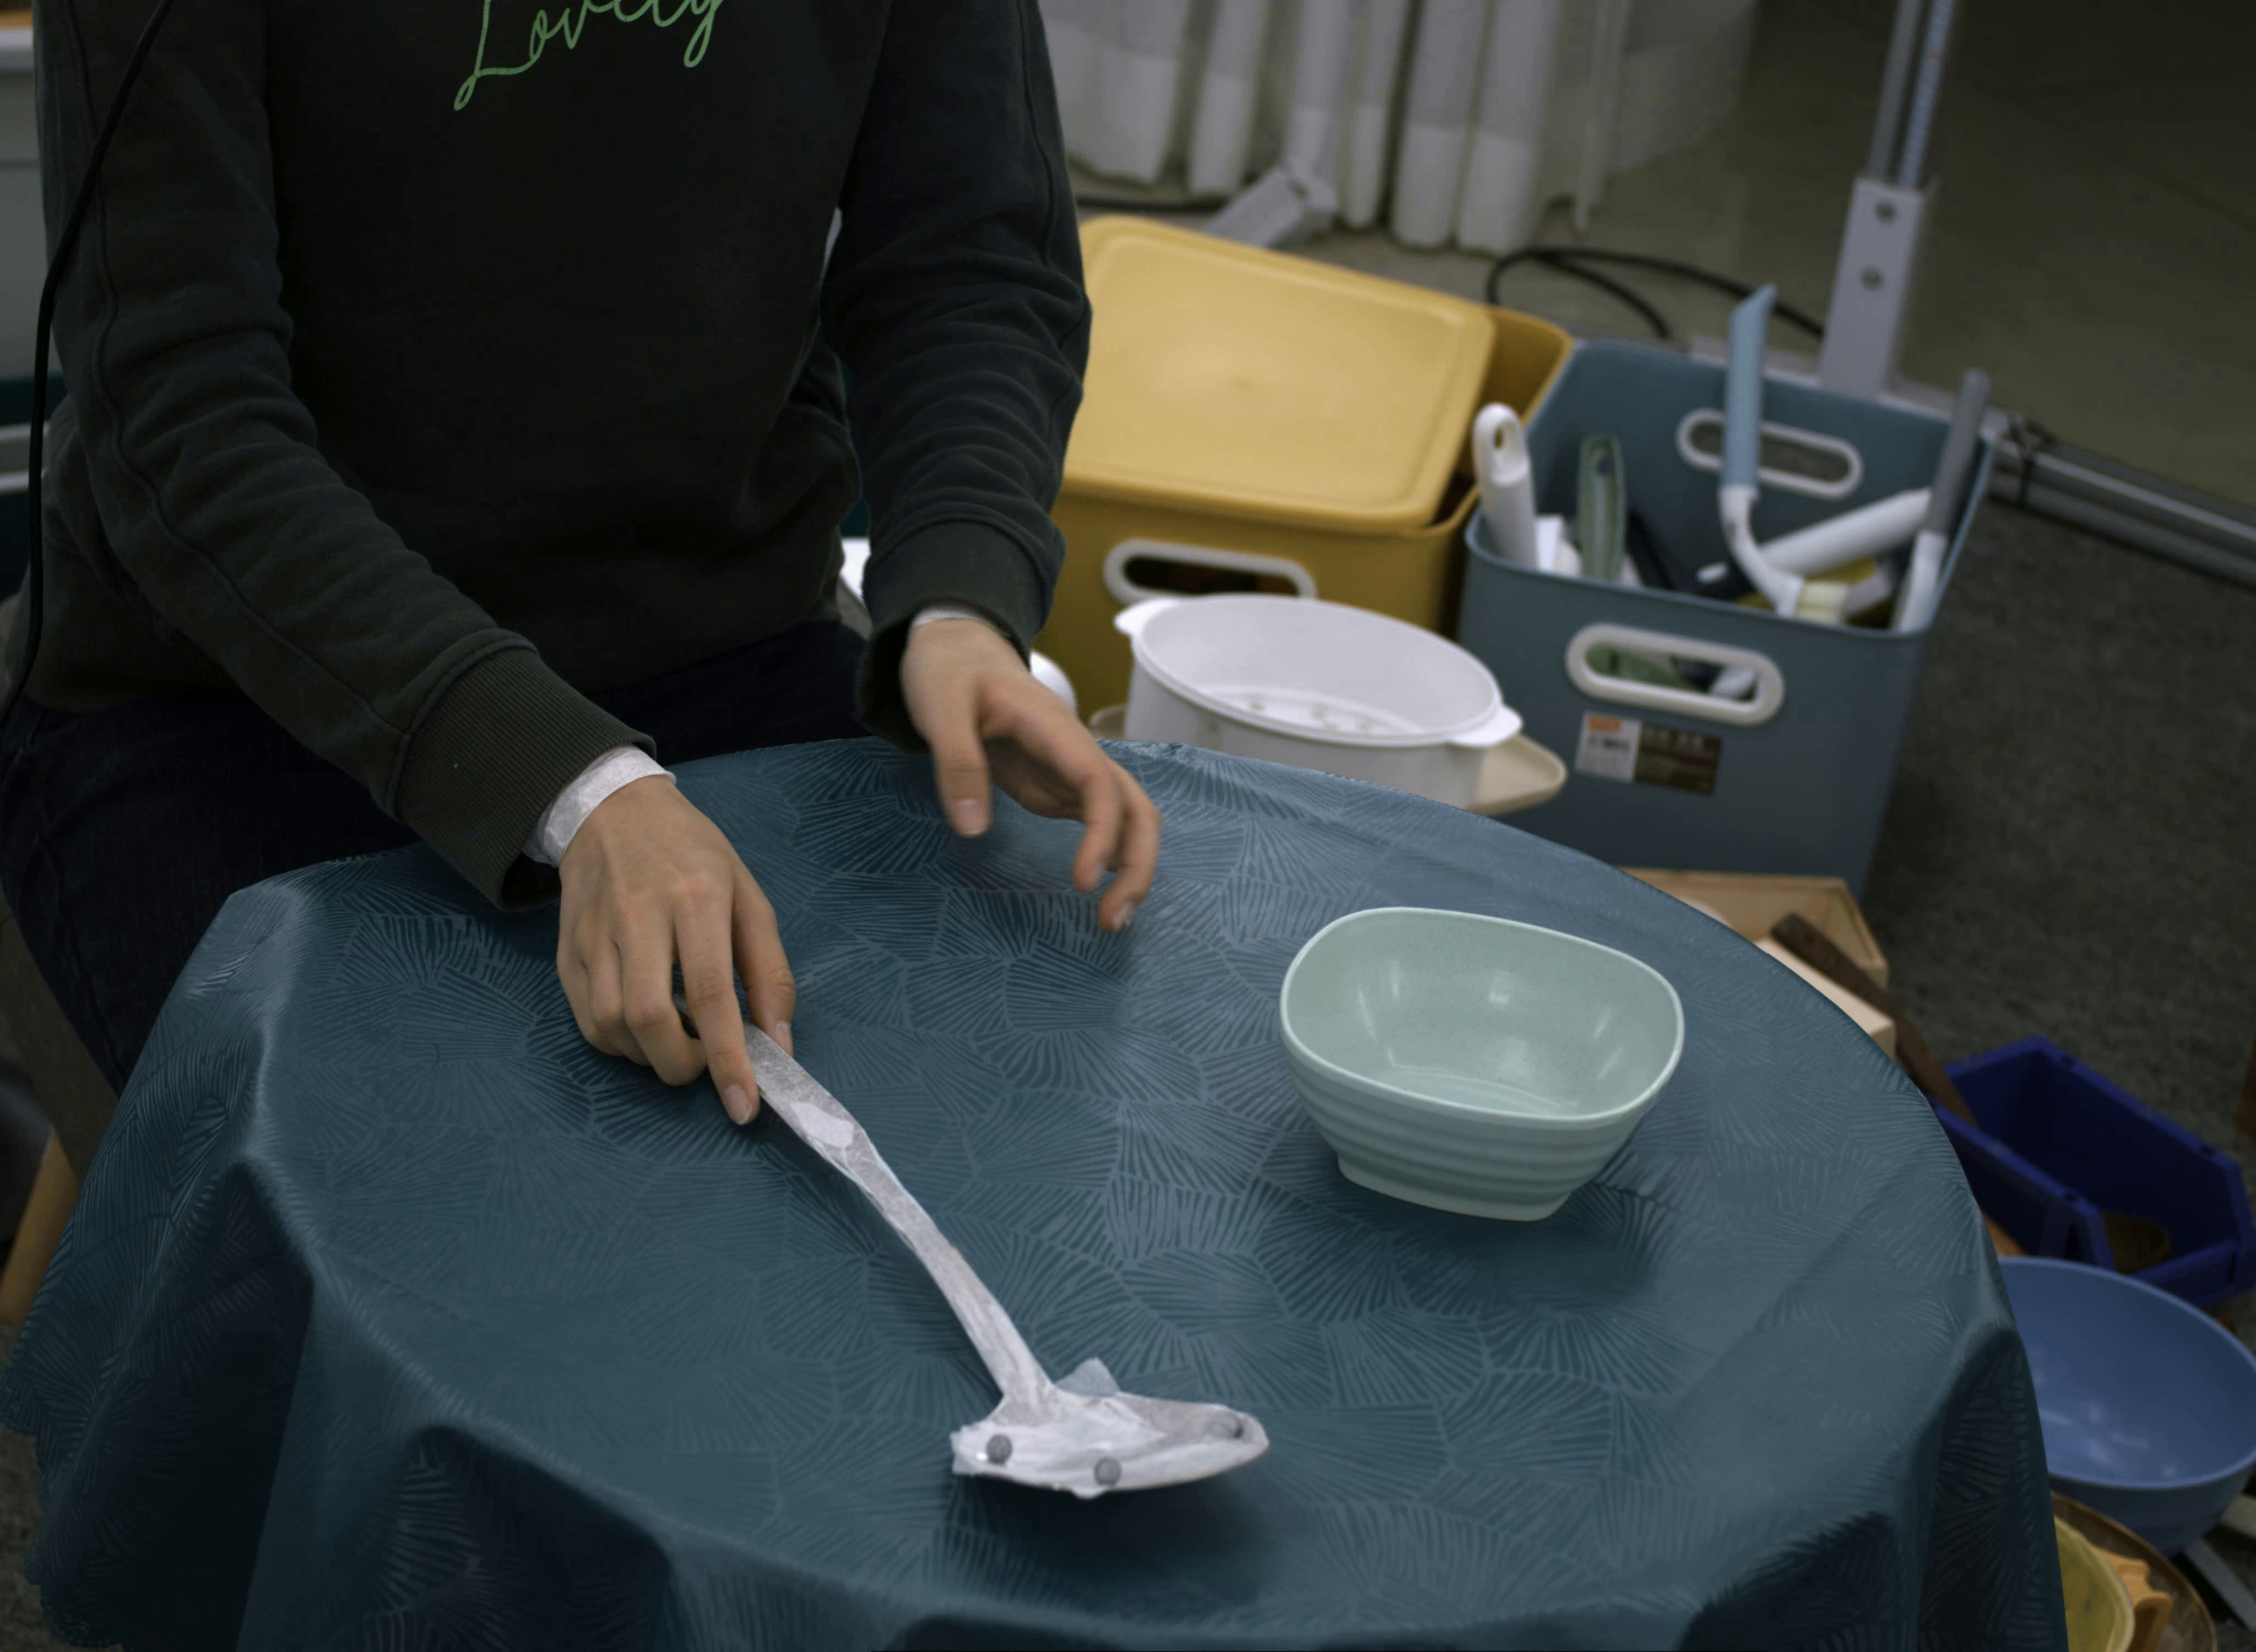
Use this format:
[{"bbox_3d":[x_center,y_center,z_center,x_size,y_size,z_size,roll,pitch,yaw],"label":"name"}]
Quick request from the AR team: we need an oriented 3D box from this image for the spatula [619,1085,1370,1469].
[{"bbox_3d":[-0.066,0.138,1.713,0.098,0.045,0.368,5,18,-41],"label":"spatula"}]

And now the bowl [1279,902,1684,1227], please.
[{"bbox_3d":[0.118,0.088,1.836,0.151,0.058,0.152,7,28,-4],"label":"bowl"}]
